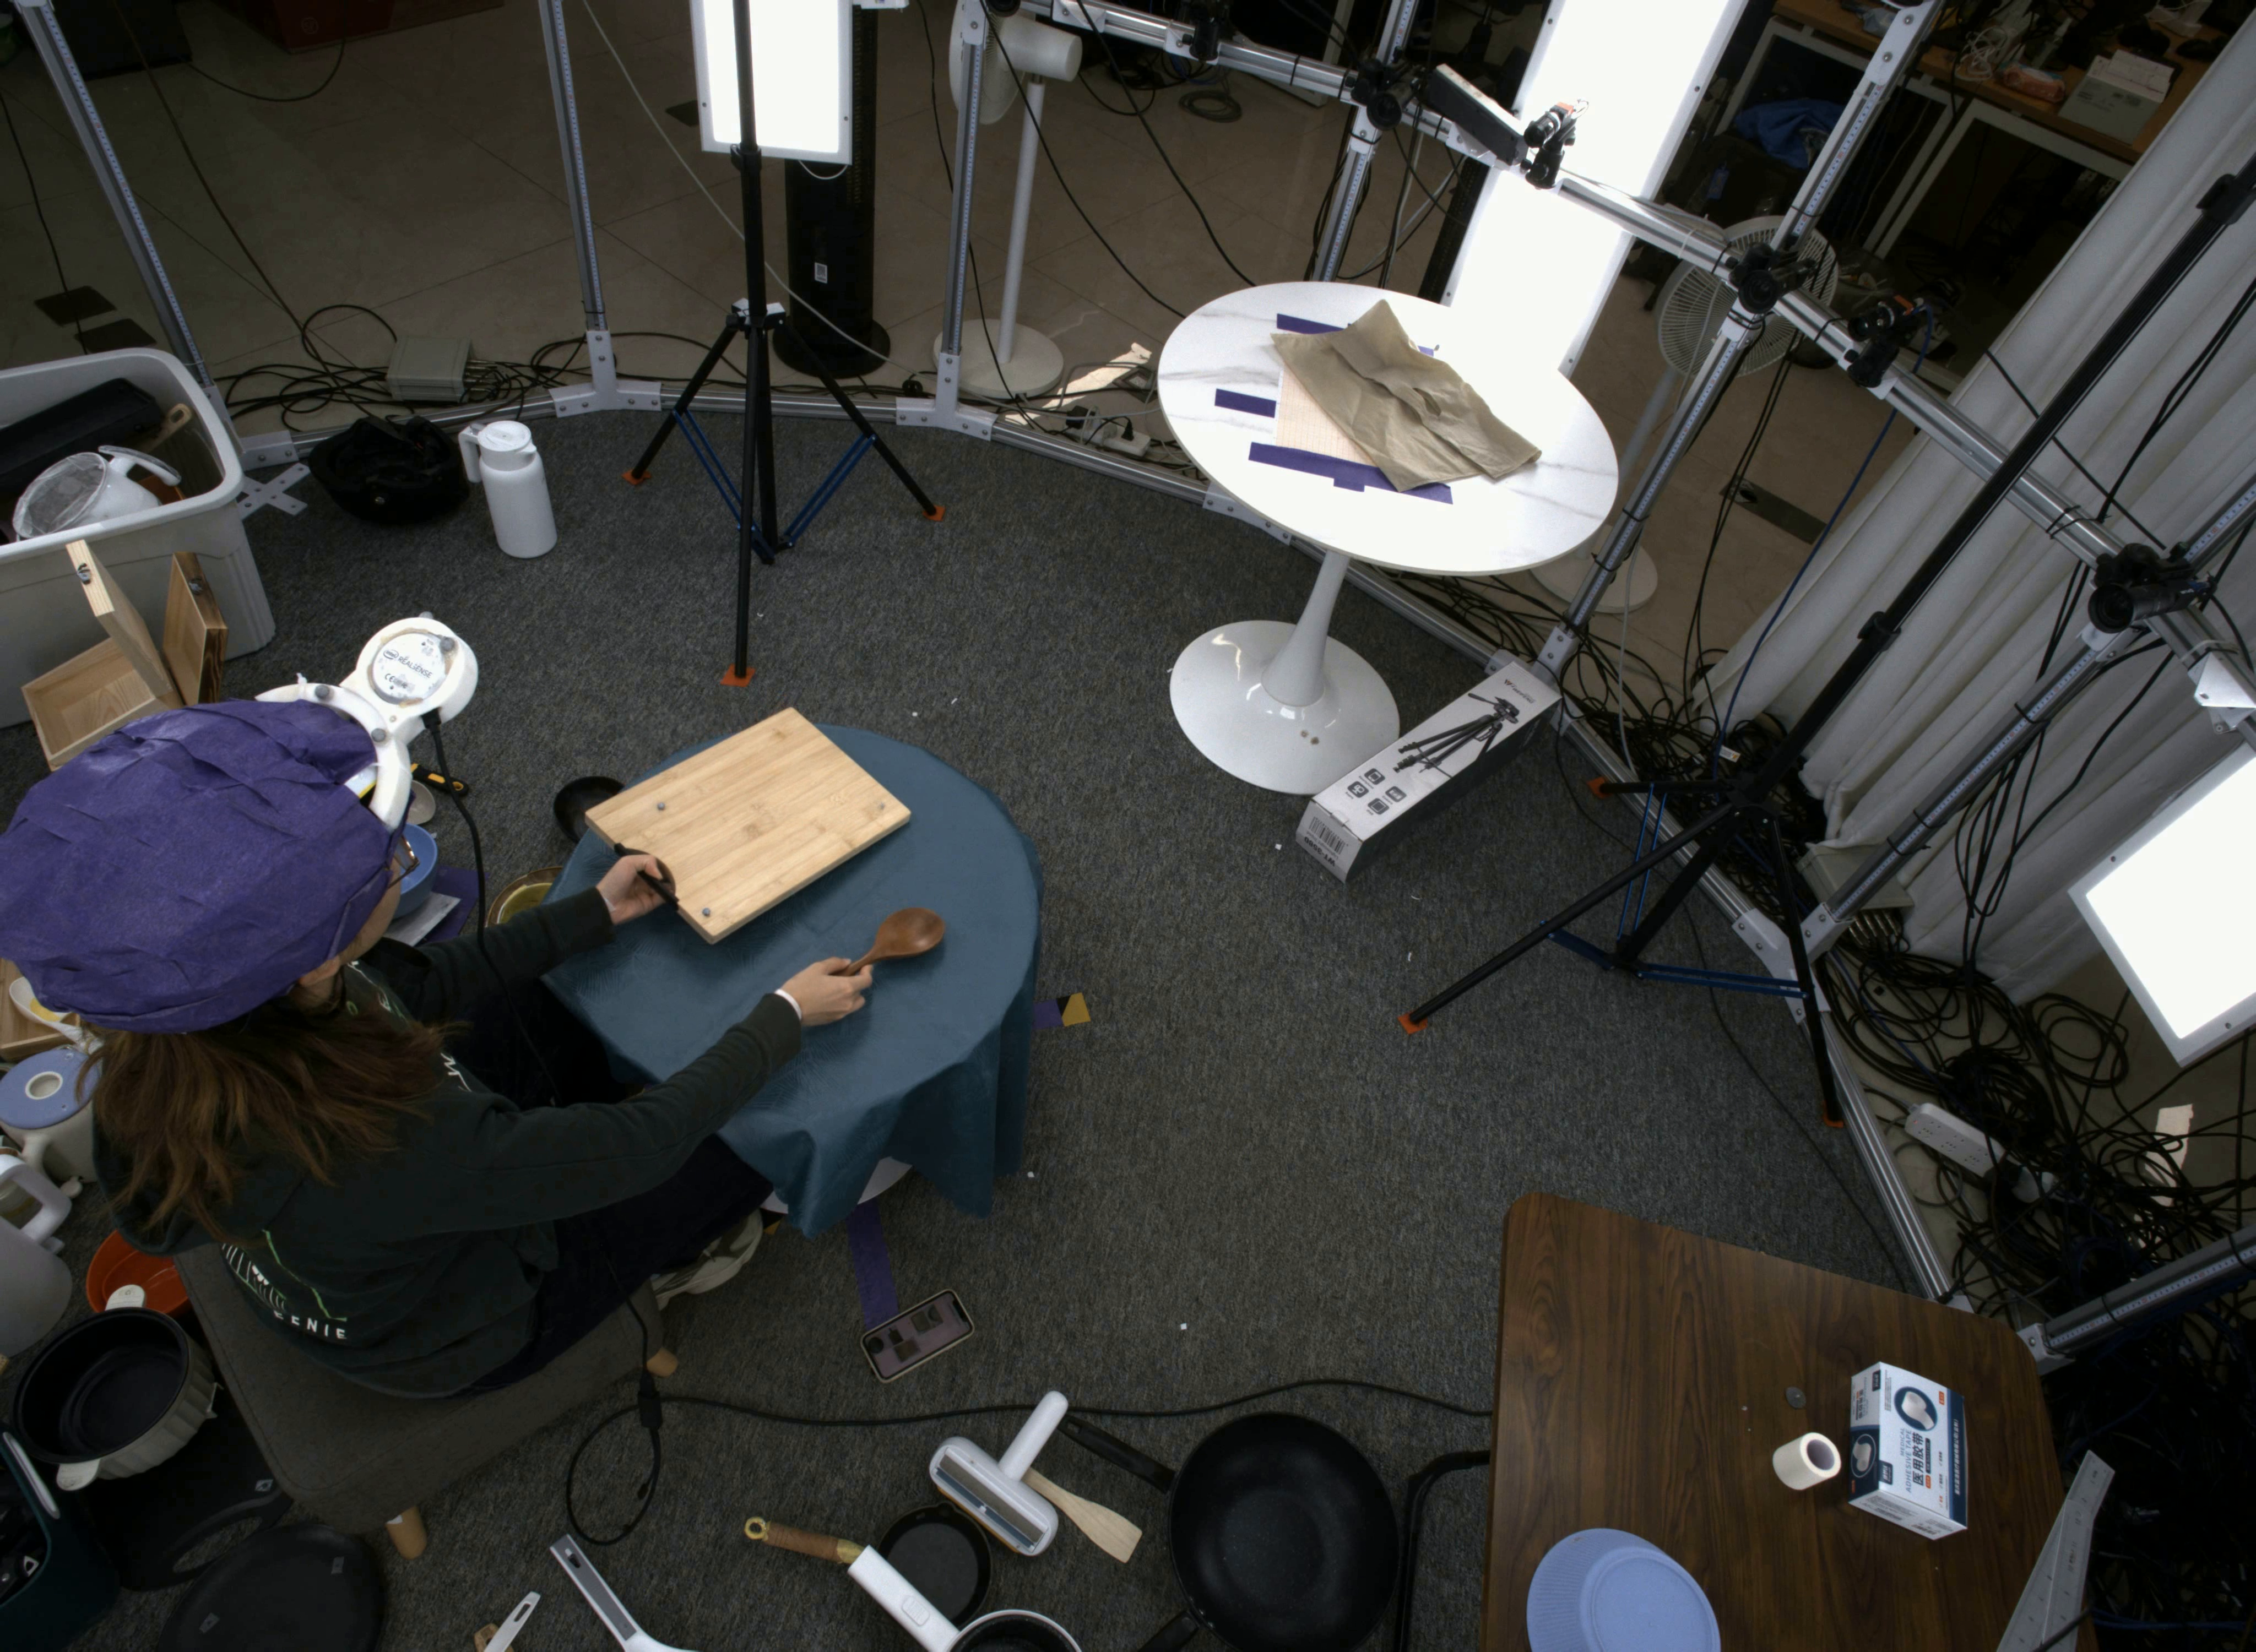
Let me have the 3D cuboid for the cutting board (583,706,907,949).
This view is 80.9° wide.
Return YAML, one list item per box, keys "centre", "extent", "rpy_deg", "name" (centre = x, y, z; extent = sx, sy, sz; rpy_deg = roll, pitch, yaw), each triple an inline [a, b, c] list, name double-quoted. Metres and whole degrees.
- centre: [-0.487, -0.011, 1.664]
  extent: [0.246, 0.024, 0.349]
  rpy_deg: [40, 45, 12]
  name: "cutting board"

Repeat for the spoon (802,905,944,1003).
- centre: [-0.313, 0.157, 1.597]
  extent: [0.073, 0.017, 0.217]
  rpy_deg: [38, 43, 19]
  name: "spoon"
